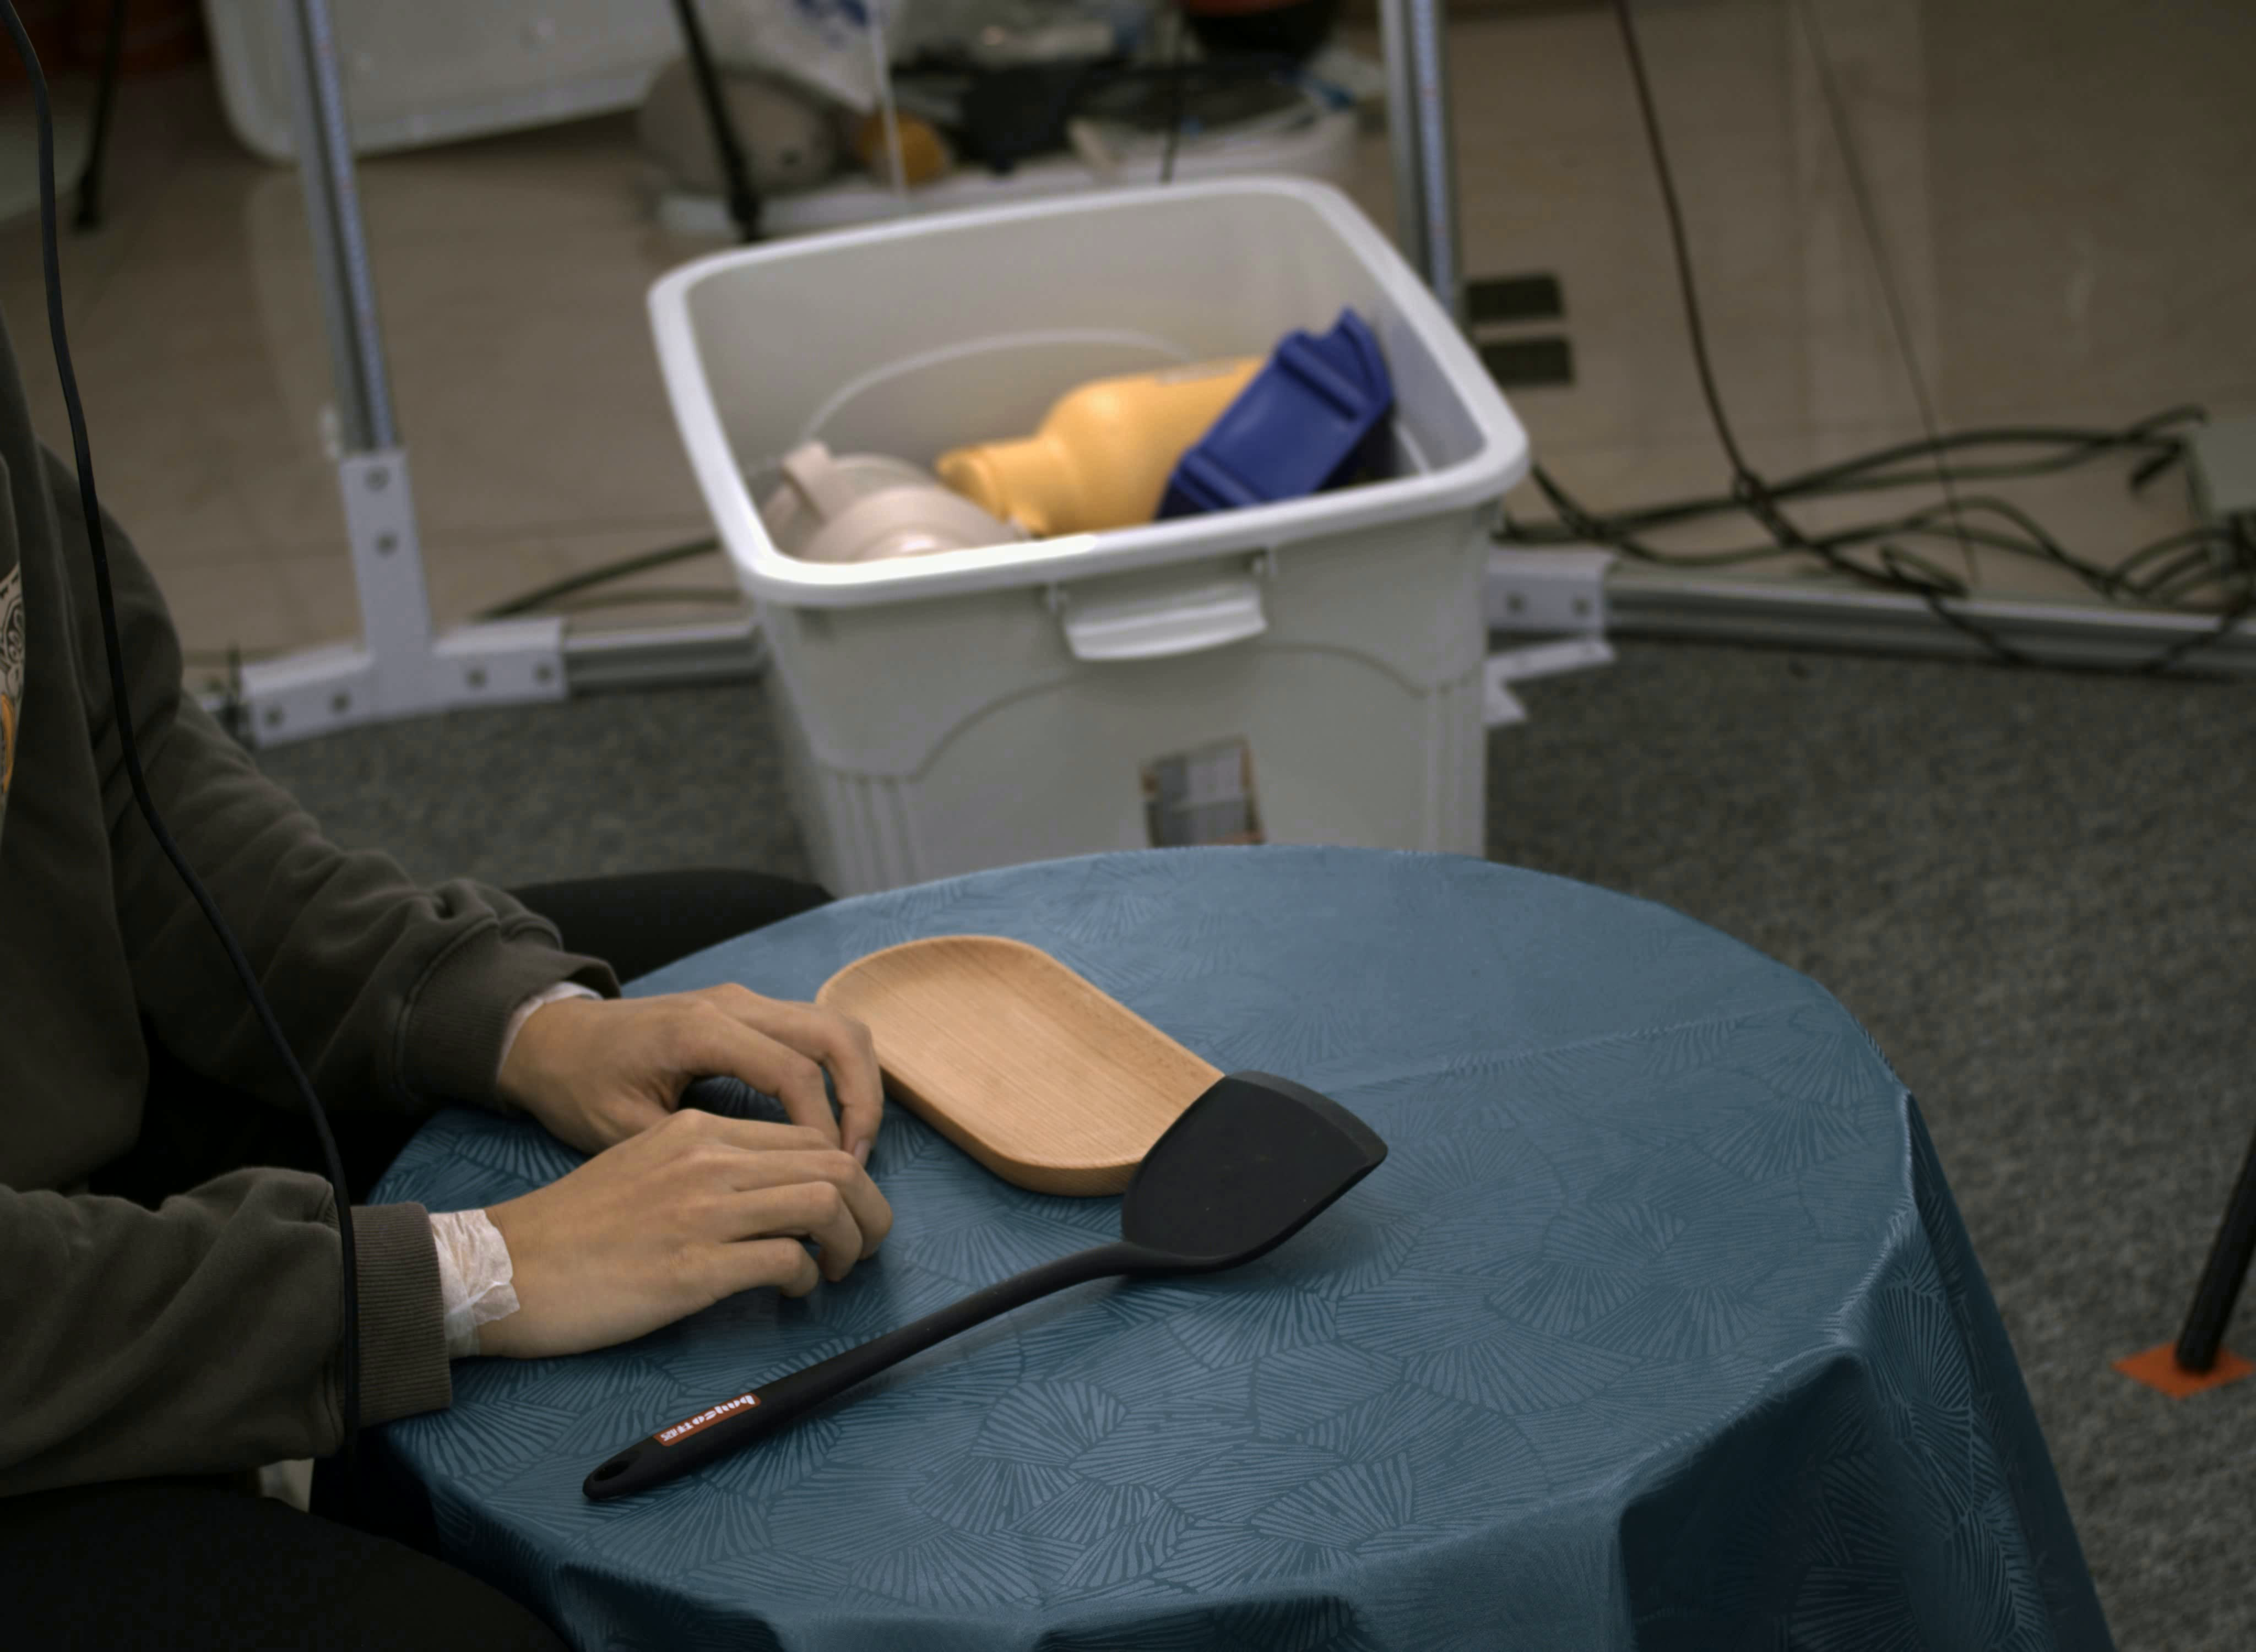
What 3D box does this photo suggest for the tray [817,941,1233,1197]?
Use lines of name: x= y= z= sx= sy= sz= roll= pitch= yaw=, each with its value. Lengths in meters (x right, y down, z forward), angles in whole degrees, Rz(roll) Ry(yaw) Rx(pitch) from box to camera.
tray: x=-0.042 y=0.094 z=2.234 sx=0.101 sy=0.020 sz=0.228 roll=-20 pitch=29 yaw=-25

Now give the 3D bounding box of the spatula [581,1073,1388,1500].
spatula: x=-0.057 y=0.170 z=2.050 sx=0.324 sy=0.041 sz=0.099 roll=-20 pitch=27 yaw=-27
